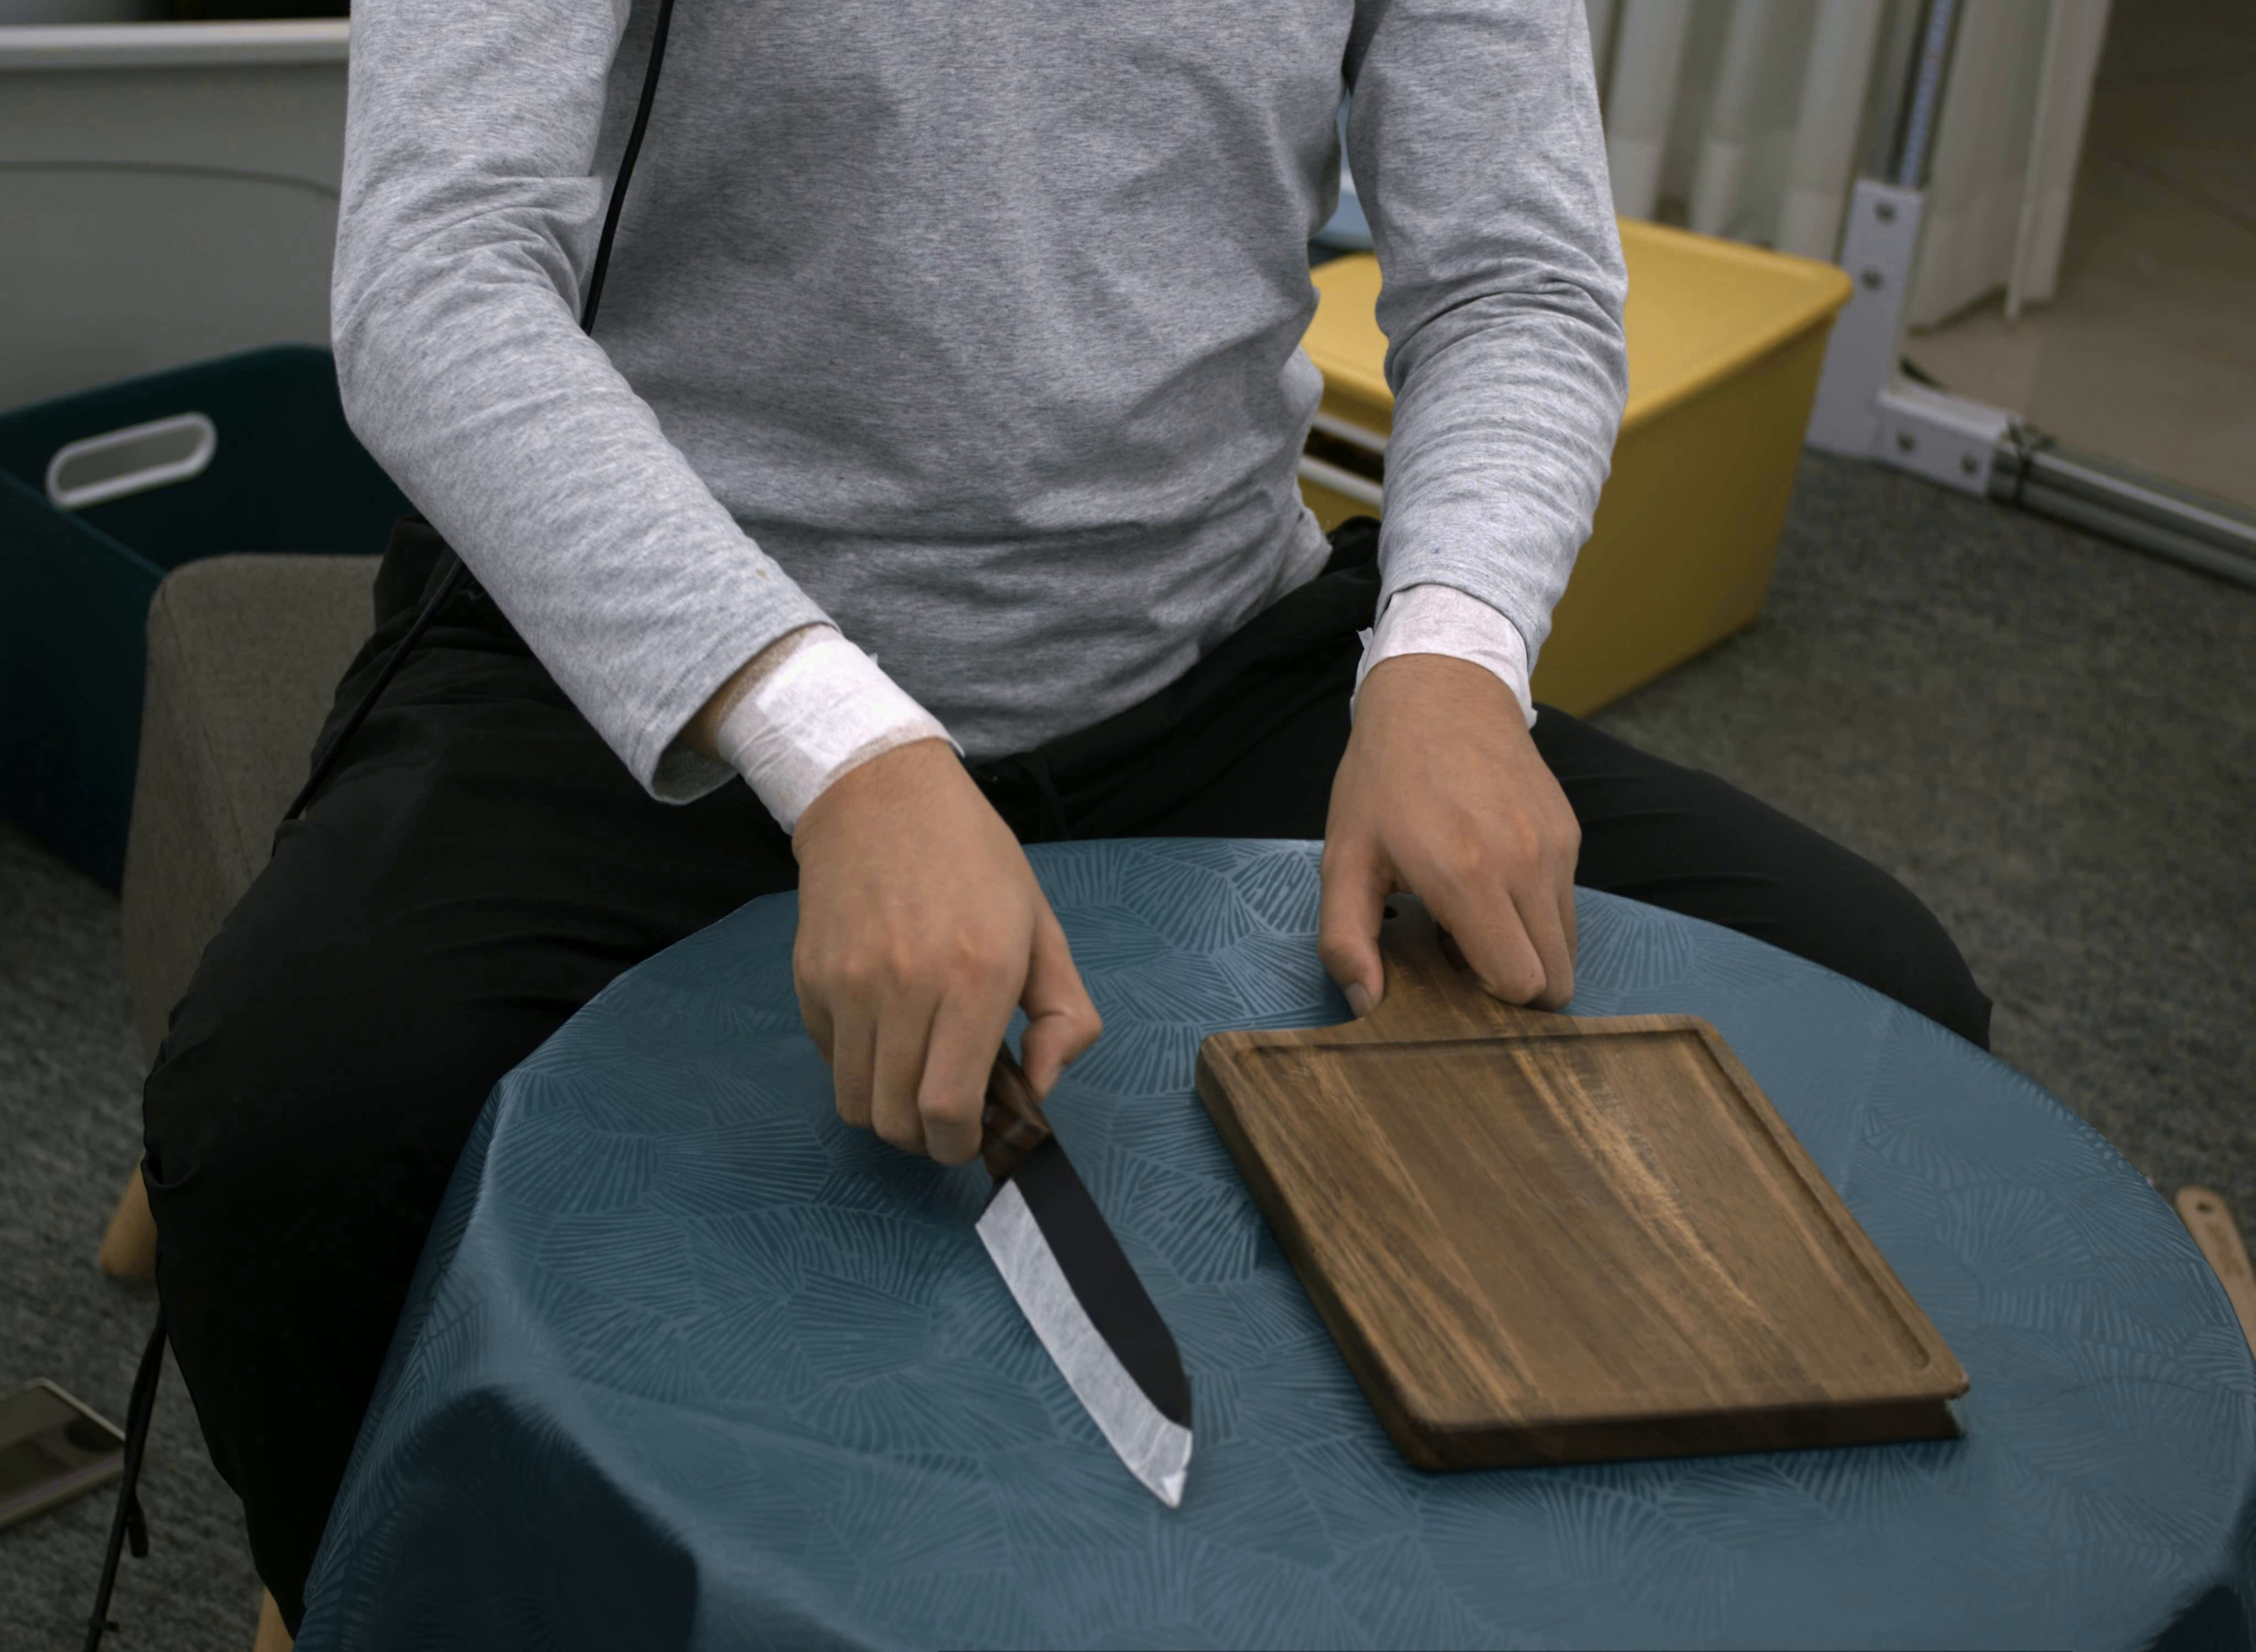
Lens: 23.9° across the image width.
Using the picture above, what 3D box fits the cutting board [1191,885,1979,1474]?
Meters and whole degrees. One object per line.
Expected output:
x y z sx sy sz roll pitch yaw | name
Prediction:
0.136 0.112 1.837 0.200 0.023 0.355 -1 28 -17 | cutting board

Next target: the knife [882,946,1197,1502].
-0.029 0.126 1.741 0.020 0.050 0.292 25 20 -34 | knife
